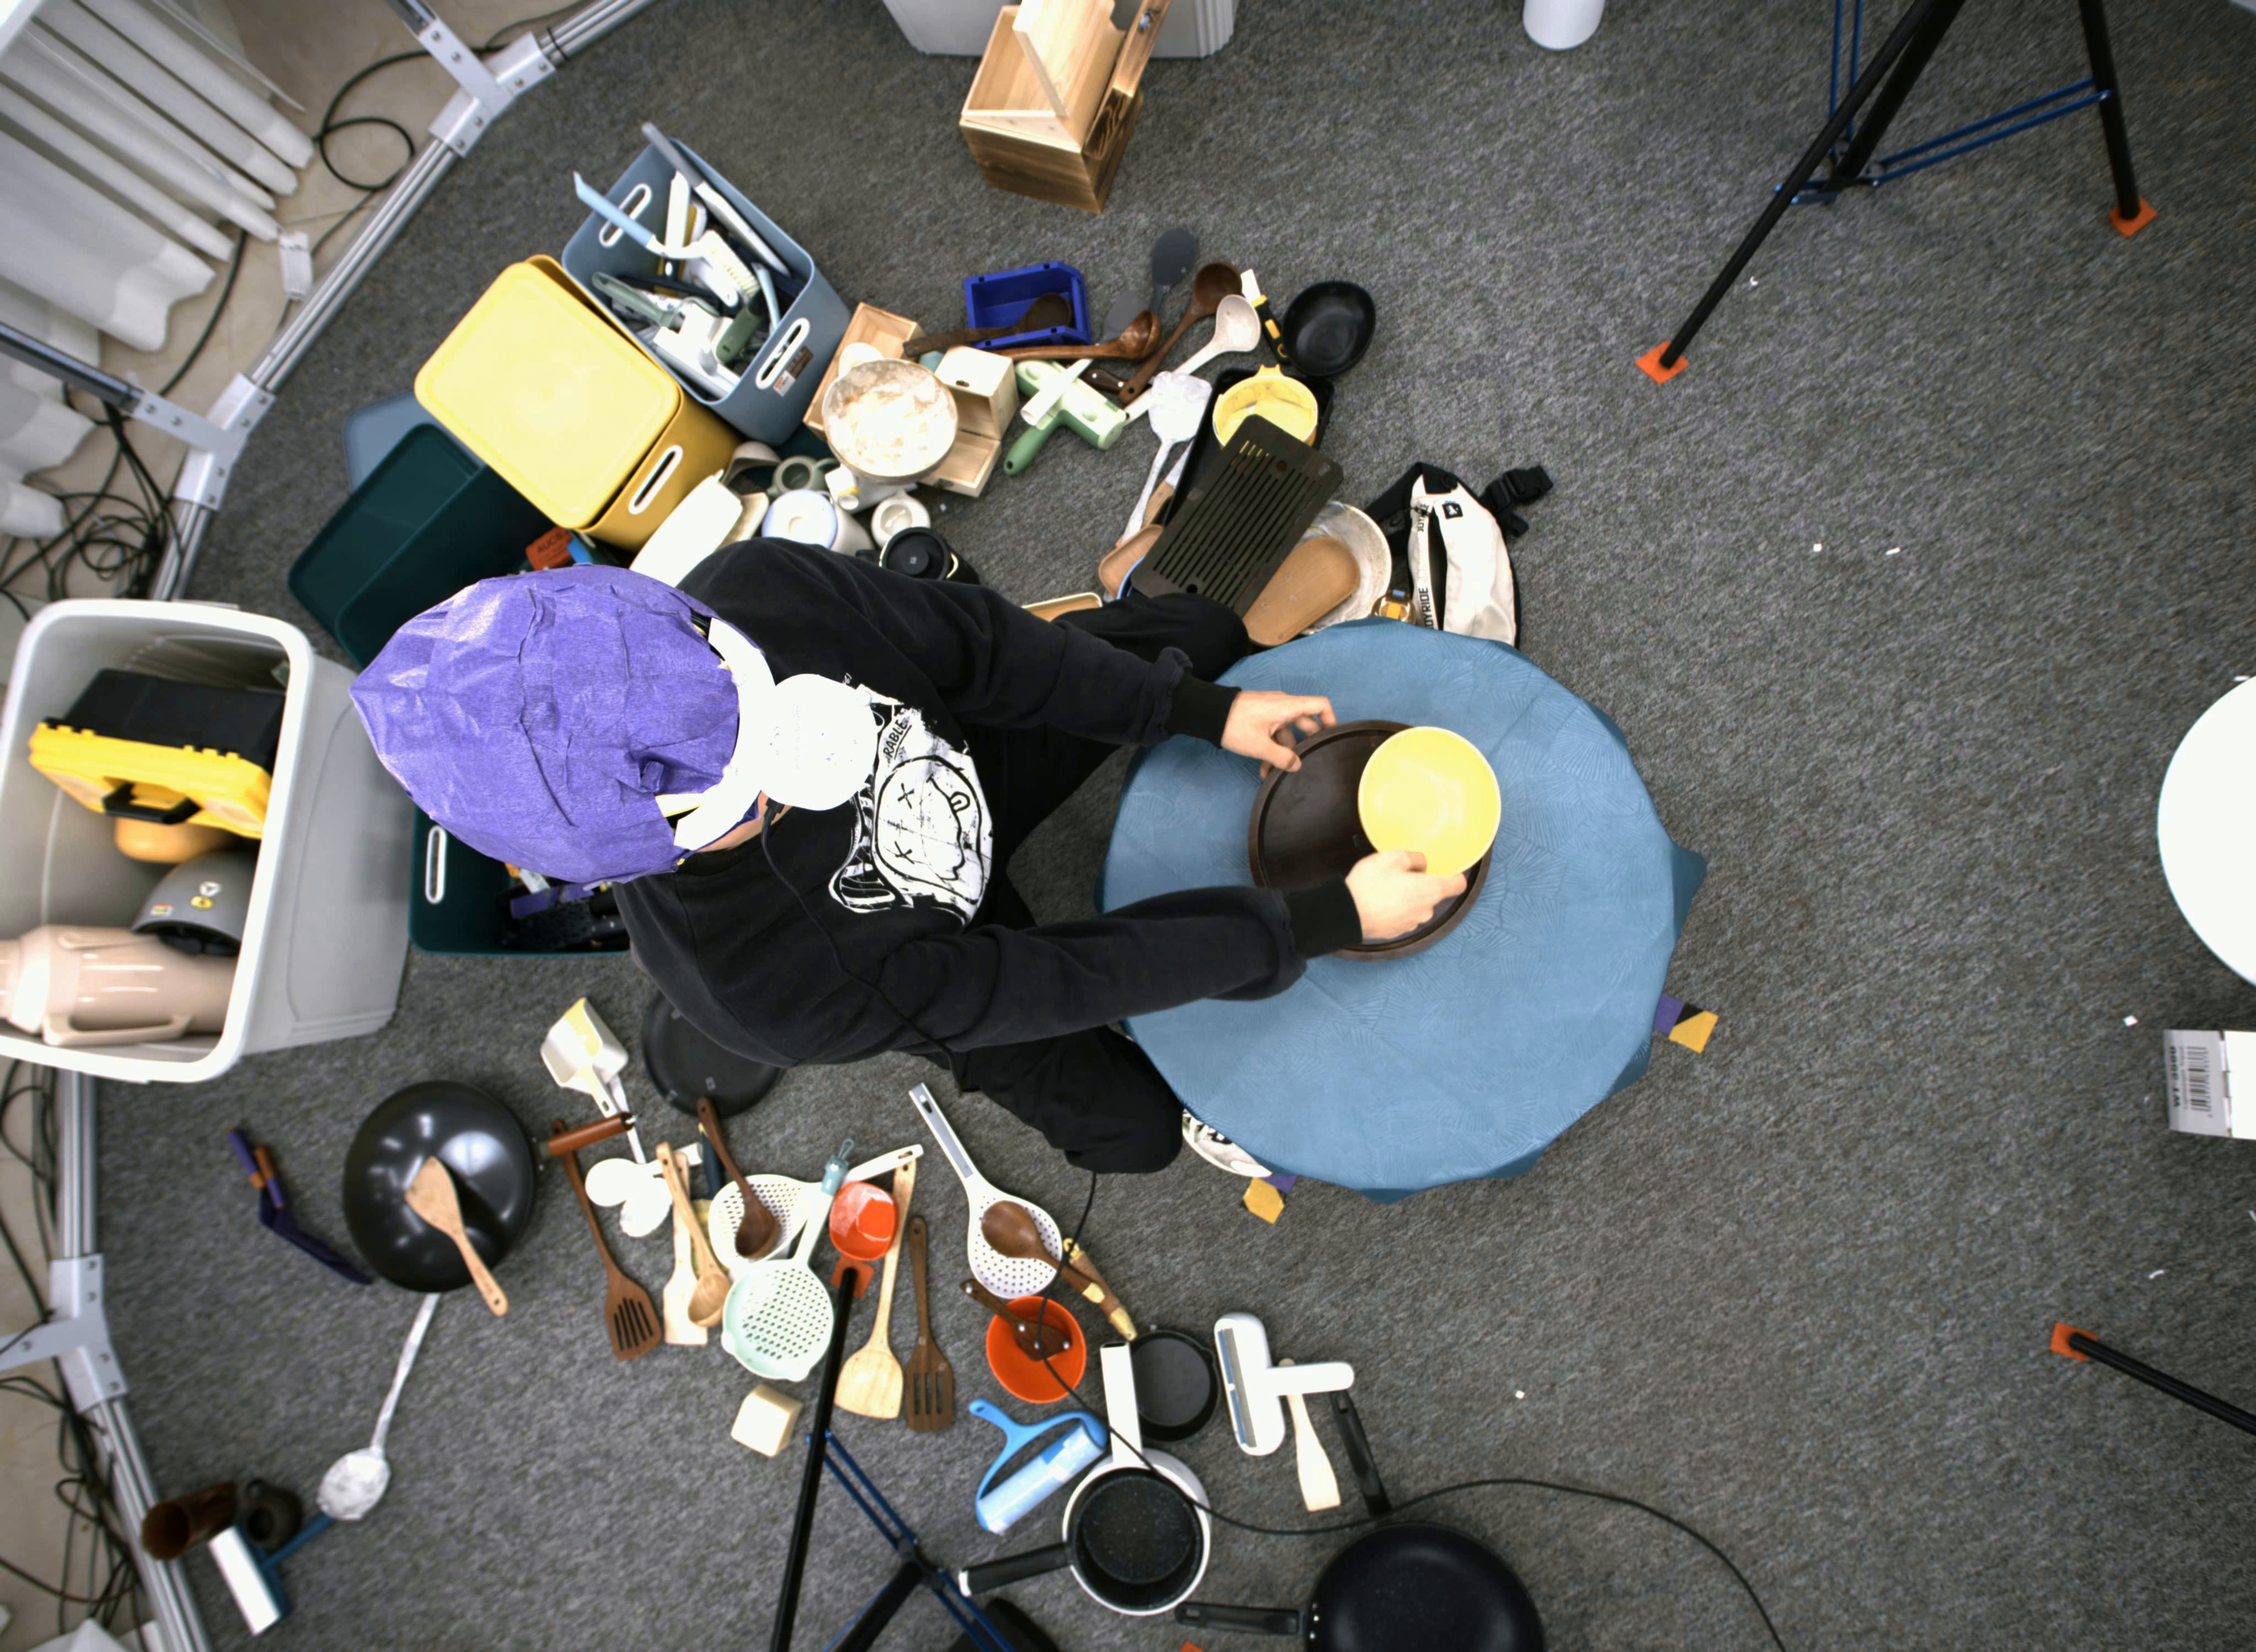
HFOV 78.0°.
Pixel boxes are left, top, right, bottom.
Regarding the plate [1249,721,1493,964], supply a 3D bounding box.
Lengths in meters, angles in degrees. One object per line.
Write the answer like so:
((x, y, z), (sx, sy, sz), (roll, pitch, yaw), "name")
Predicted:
((0.251, 0.017, 1.431), (0.255, 0.029, 0.257), (1, 102, 3), "plate")

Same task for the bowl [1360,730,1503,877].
((0.288, -0.019, 1.349), (0.145, 0.060, 0.144), (1, 83, -9), "bowl")
